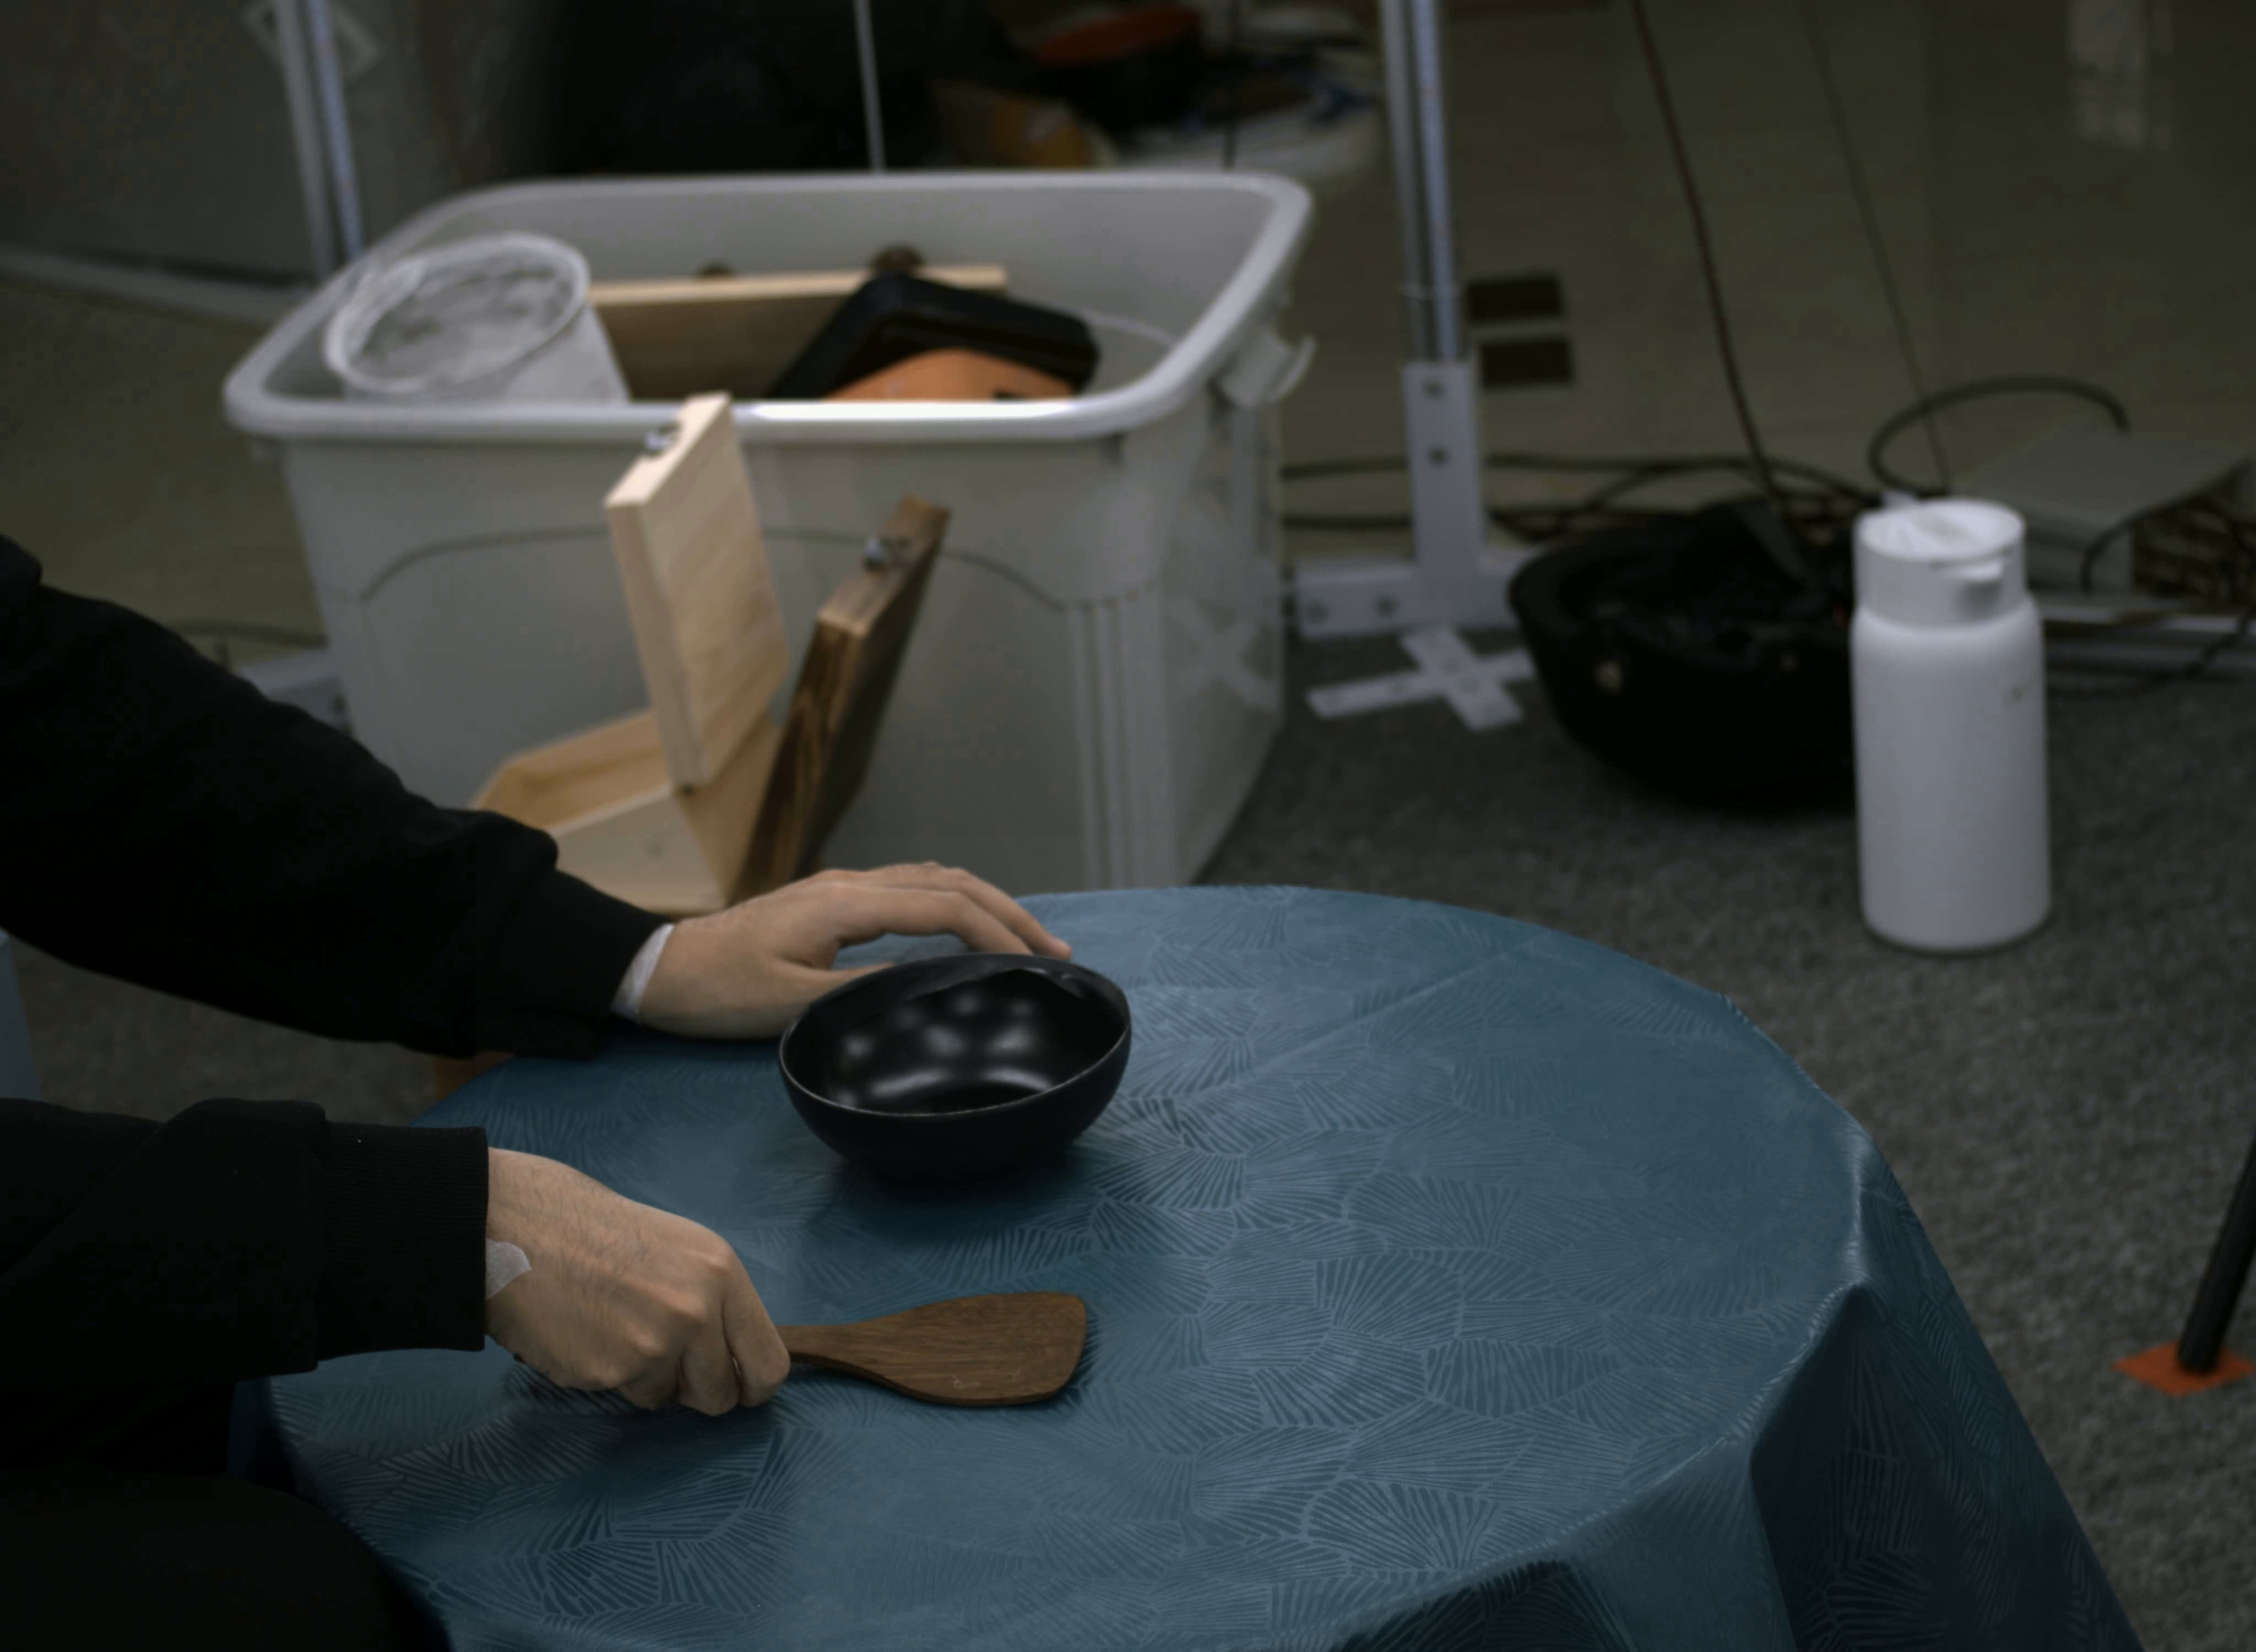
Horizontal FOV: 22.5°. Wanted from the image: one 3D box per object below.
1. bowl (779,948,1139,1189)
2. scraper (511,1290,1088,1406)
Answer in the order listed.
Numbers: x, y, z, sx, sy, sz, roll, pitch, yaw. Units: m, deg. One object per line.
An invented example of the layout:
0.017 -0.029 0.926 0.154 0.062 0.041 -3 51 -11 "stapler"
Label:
-0.063 0.101 2.193 0.140 0.050 0.138 -6 28 3 "bowl"
-0.119 0.188 2.057 0.211 0.011 0.075 0 26 7 "scraper"
